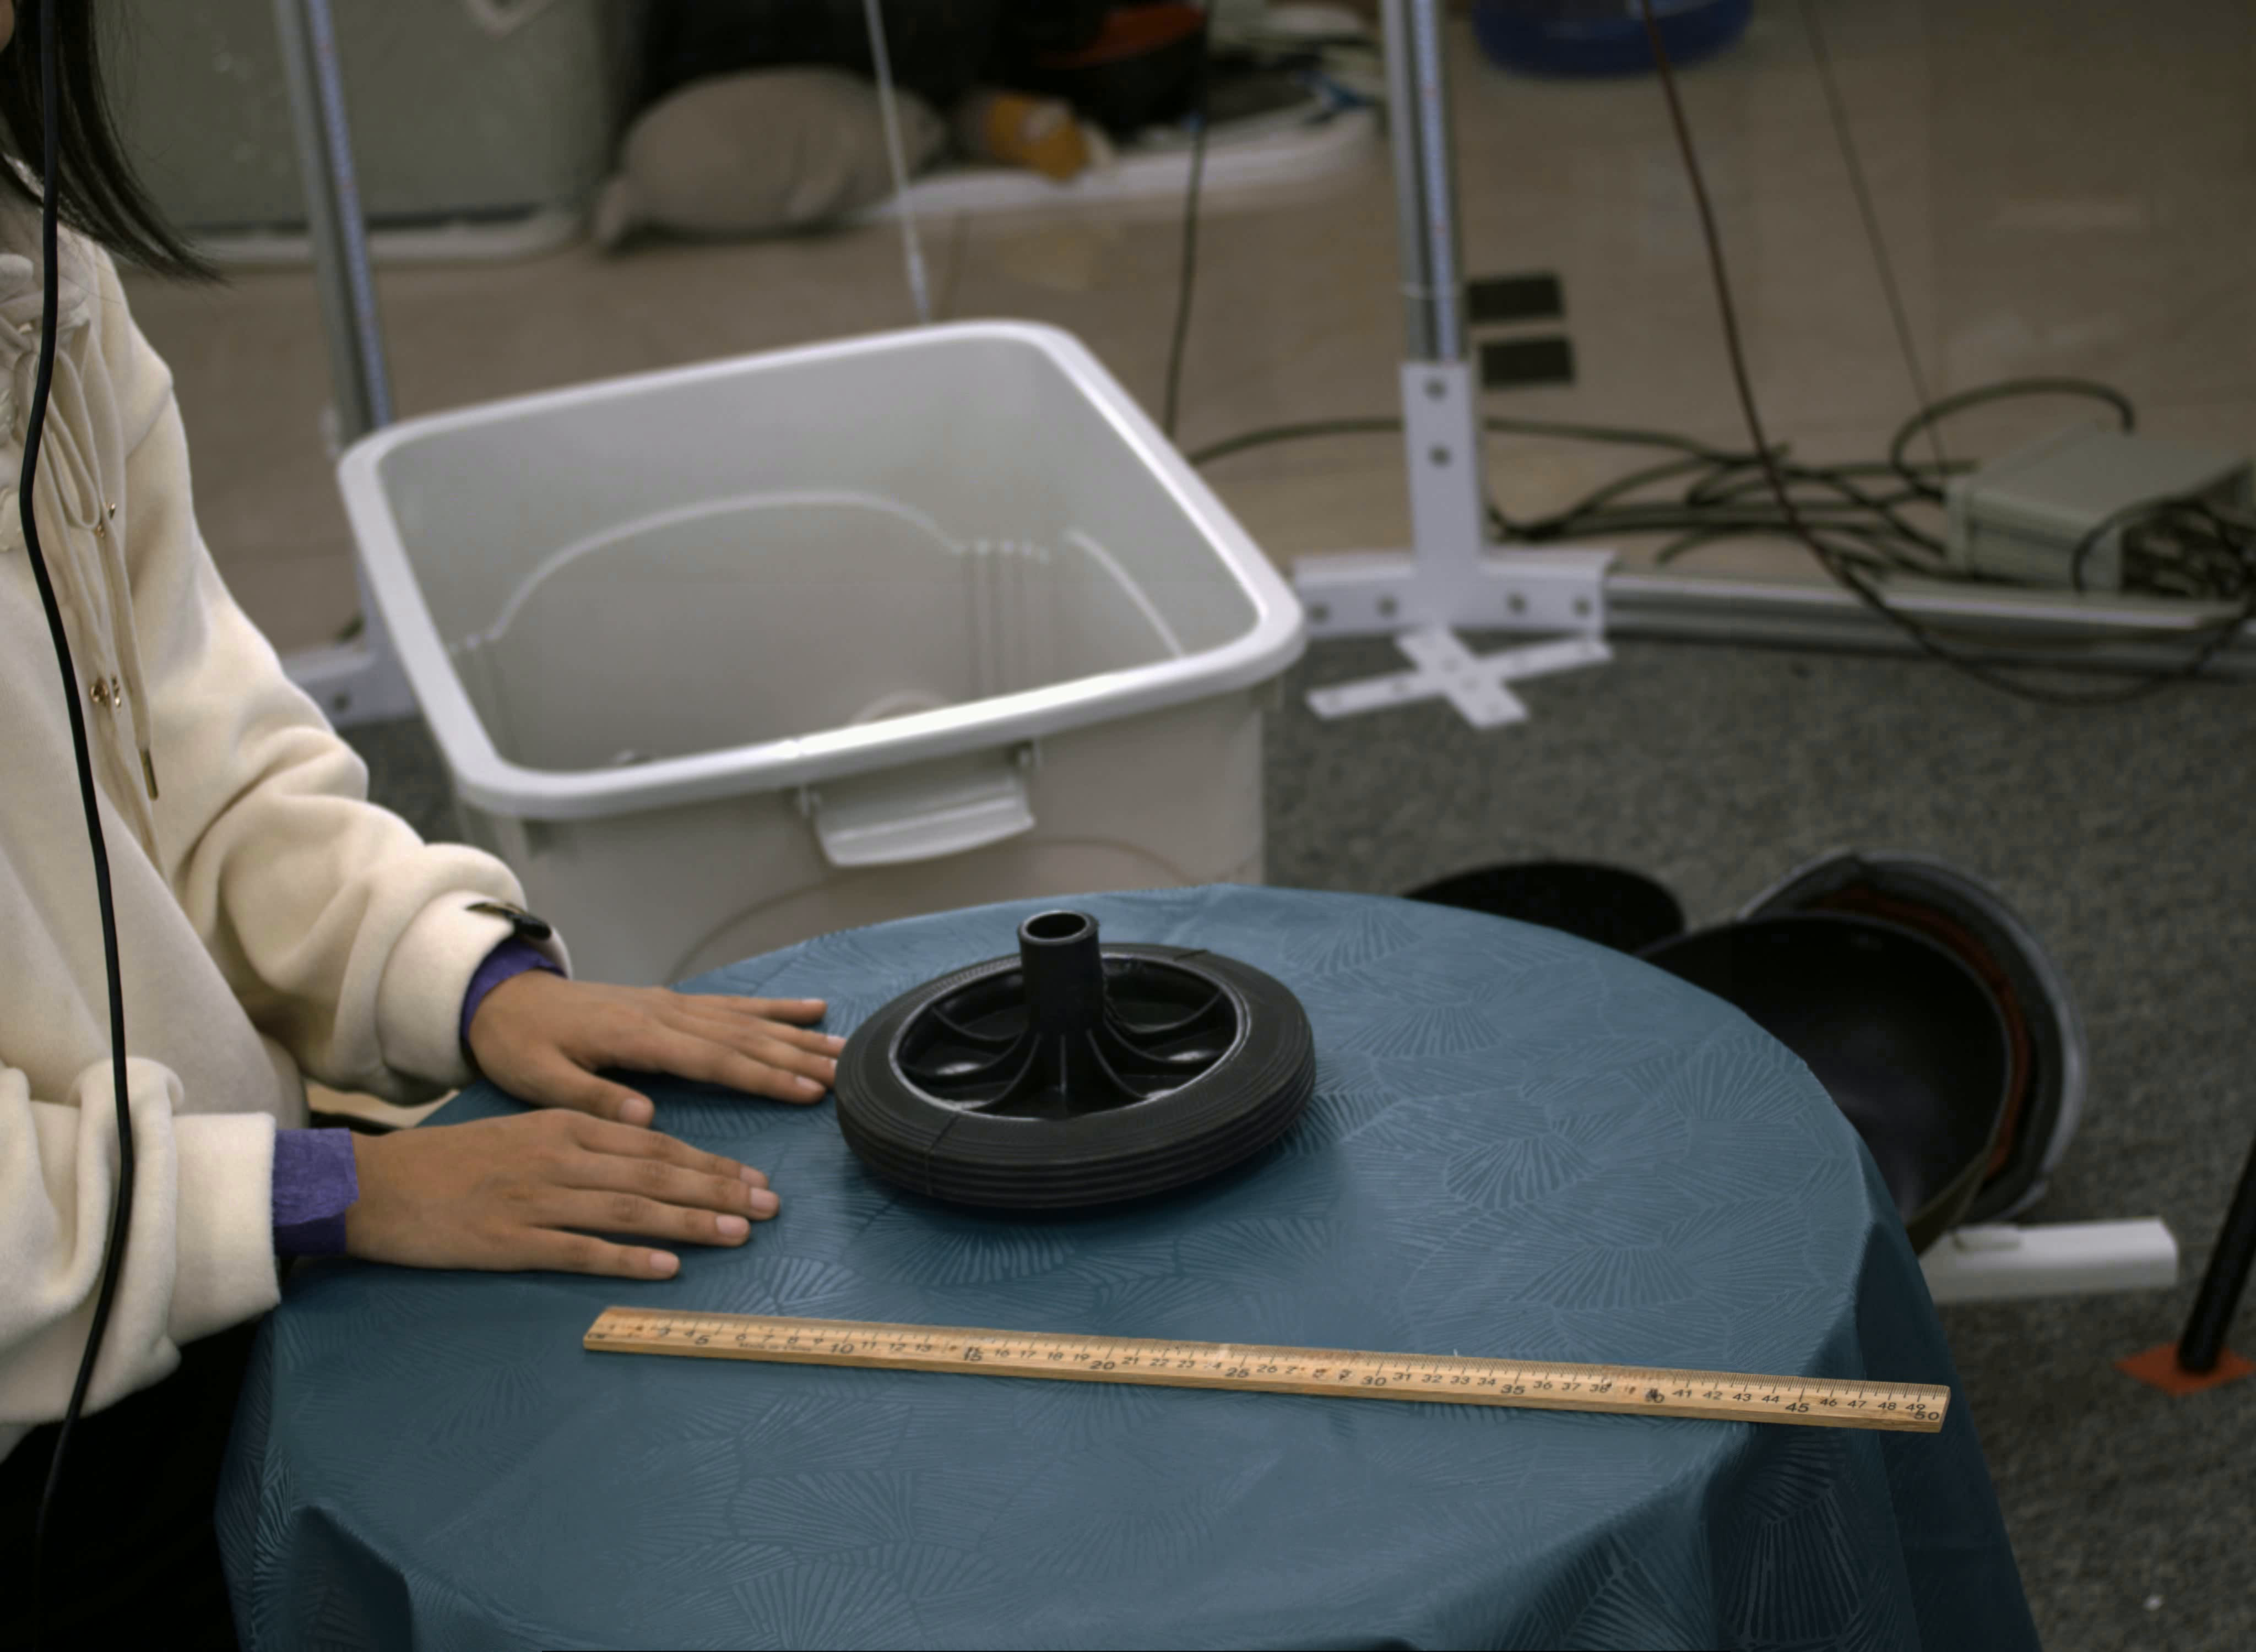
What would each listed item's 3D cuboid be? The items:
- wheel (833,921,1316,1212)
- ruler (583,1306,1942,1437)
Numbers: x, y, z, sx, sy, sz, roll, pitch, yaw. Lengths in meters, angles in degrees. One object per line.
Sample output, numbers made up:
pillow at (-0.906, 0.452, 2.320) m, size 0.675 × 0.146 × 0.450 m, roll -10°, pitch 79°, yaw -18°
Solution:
wheel at (-0.023, 0.079, 2.192) m, size 0.187 × 0.080 × 0.187 m, roll -13°, pitch 25°, yaw -14°
ruler at (0.039, 0.193, 2.017) m, size 0.499 × 0.006 × 0.026 m, roll 2°, pitch 28°, yaw 18°
